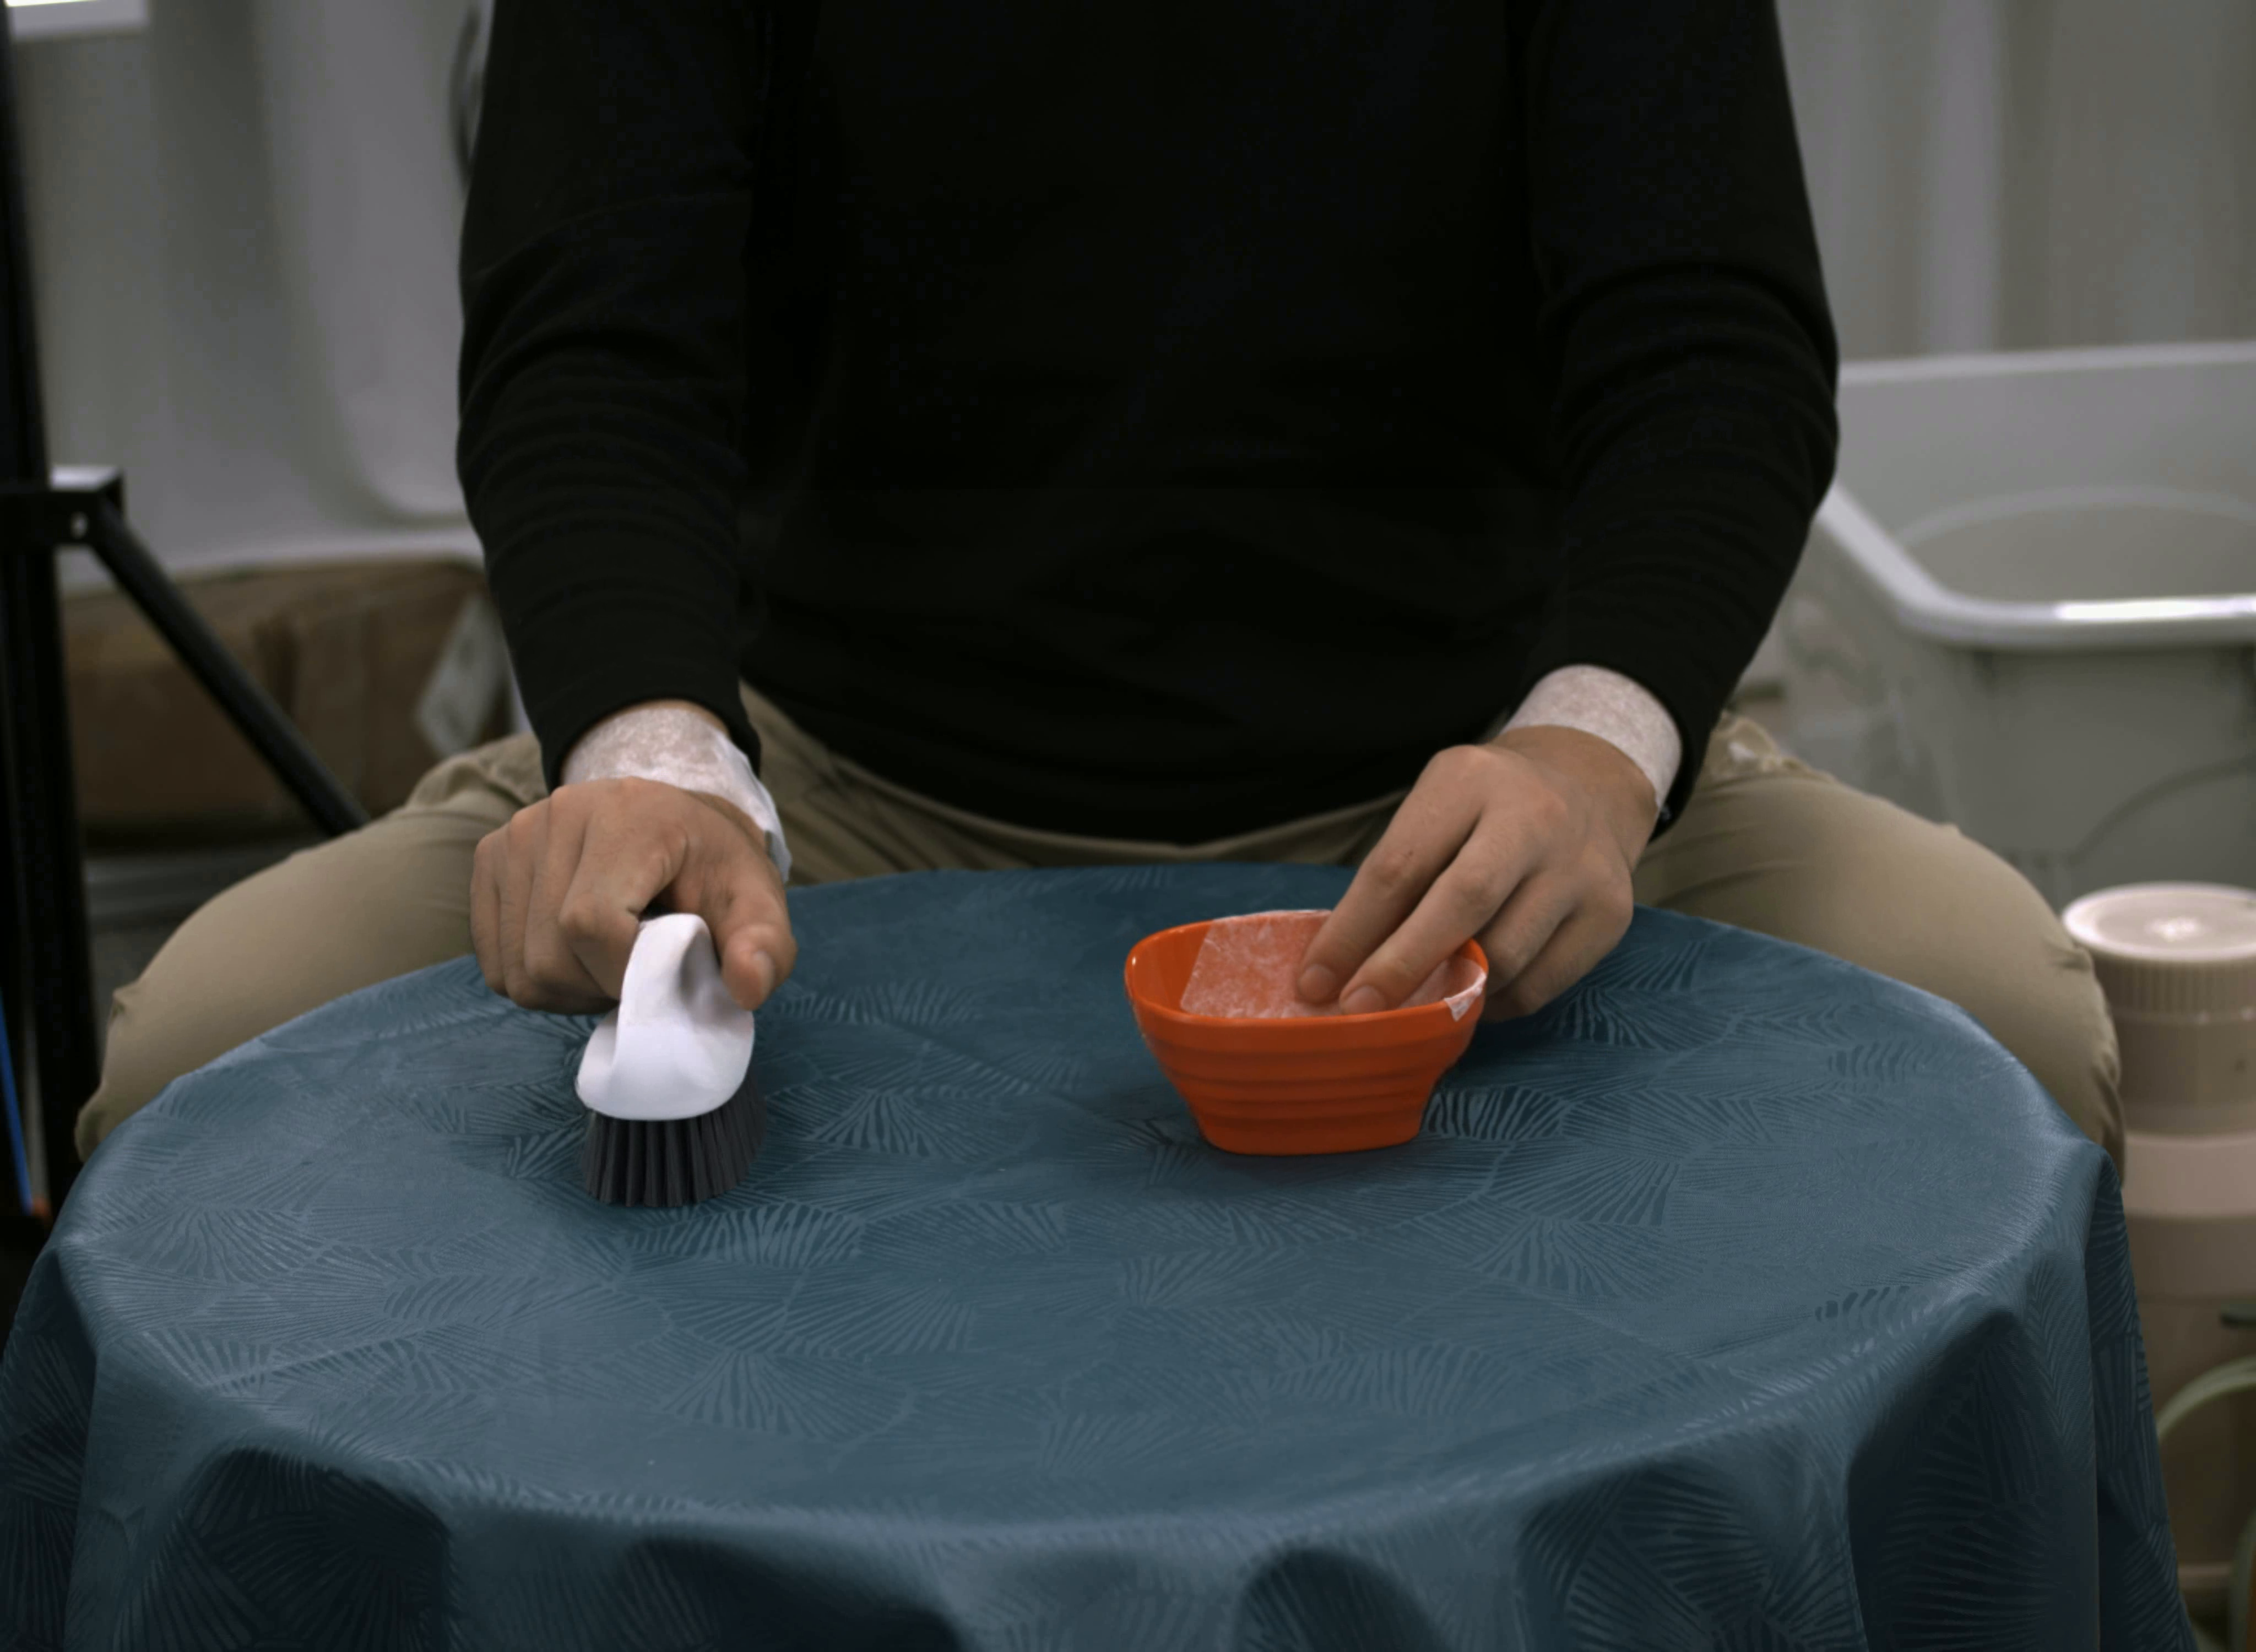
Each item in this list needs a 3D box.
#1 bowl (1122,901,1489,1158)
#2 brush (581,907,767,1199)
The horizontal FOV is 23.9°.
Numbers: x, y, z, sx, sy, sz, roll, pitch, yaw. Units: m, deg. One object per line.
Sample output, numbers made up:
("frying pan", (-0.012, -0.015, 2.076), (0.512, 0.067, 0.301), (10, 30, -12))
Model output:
("bowl", (0.054, 0.064, 1.606), (0.118, 0.051, 0.119), (-4, 18, 0))
("brush", (-0.138, 0.063, 1.603), (0.050, 0.072, 0.099), (-1, 16, 7))
